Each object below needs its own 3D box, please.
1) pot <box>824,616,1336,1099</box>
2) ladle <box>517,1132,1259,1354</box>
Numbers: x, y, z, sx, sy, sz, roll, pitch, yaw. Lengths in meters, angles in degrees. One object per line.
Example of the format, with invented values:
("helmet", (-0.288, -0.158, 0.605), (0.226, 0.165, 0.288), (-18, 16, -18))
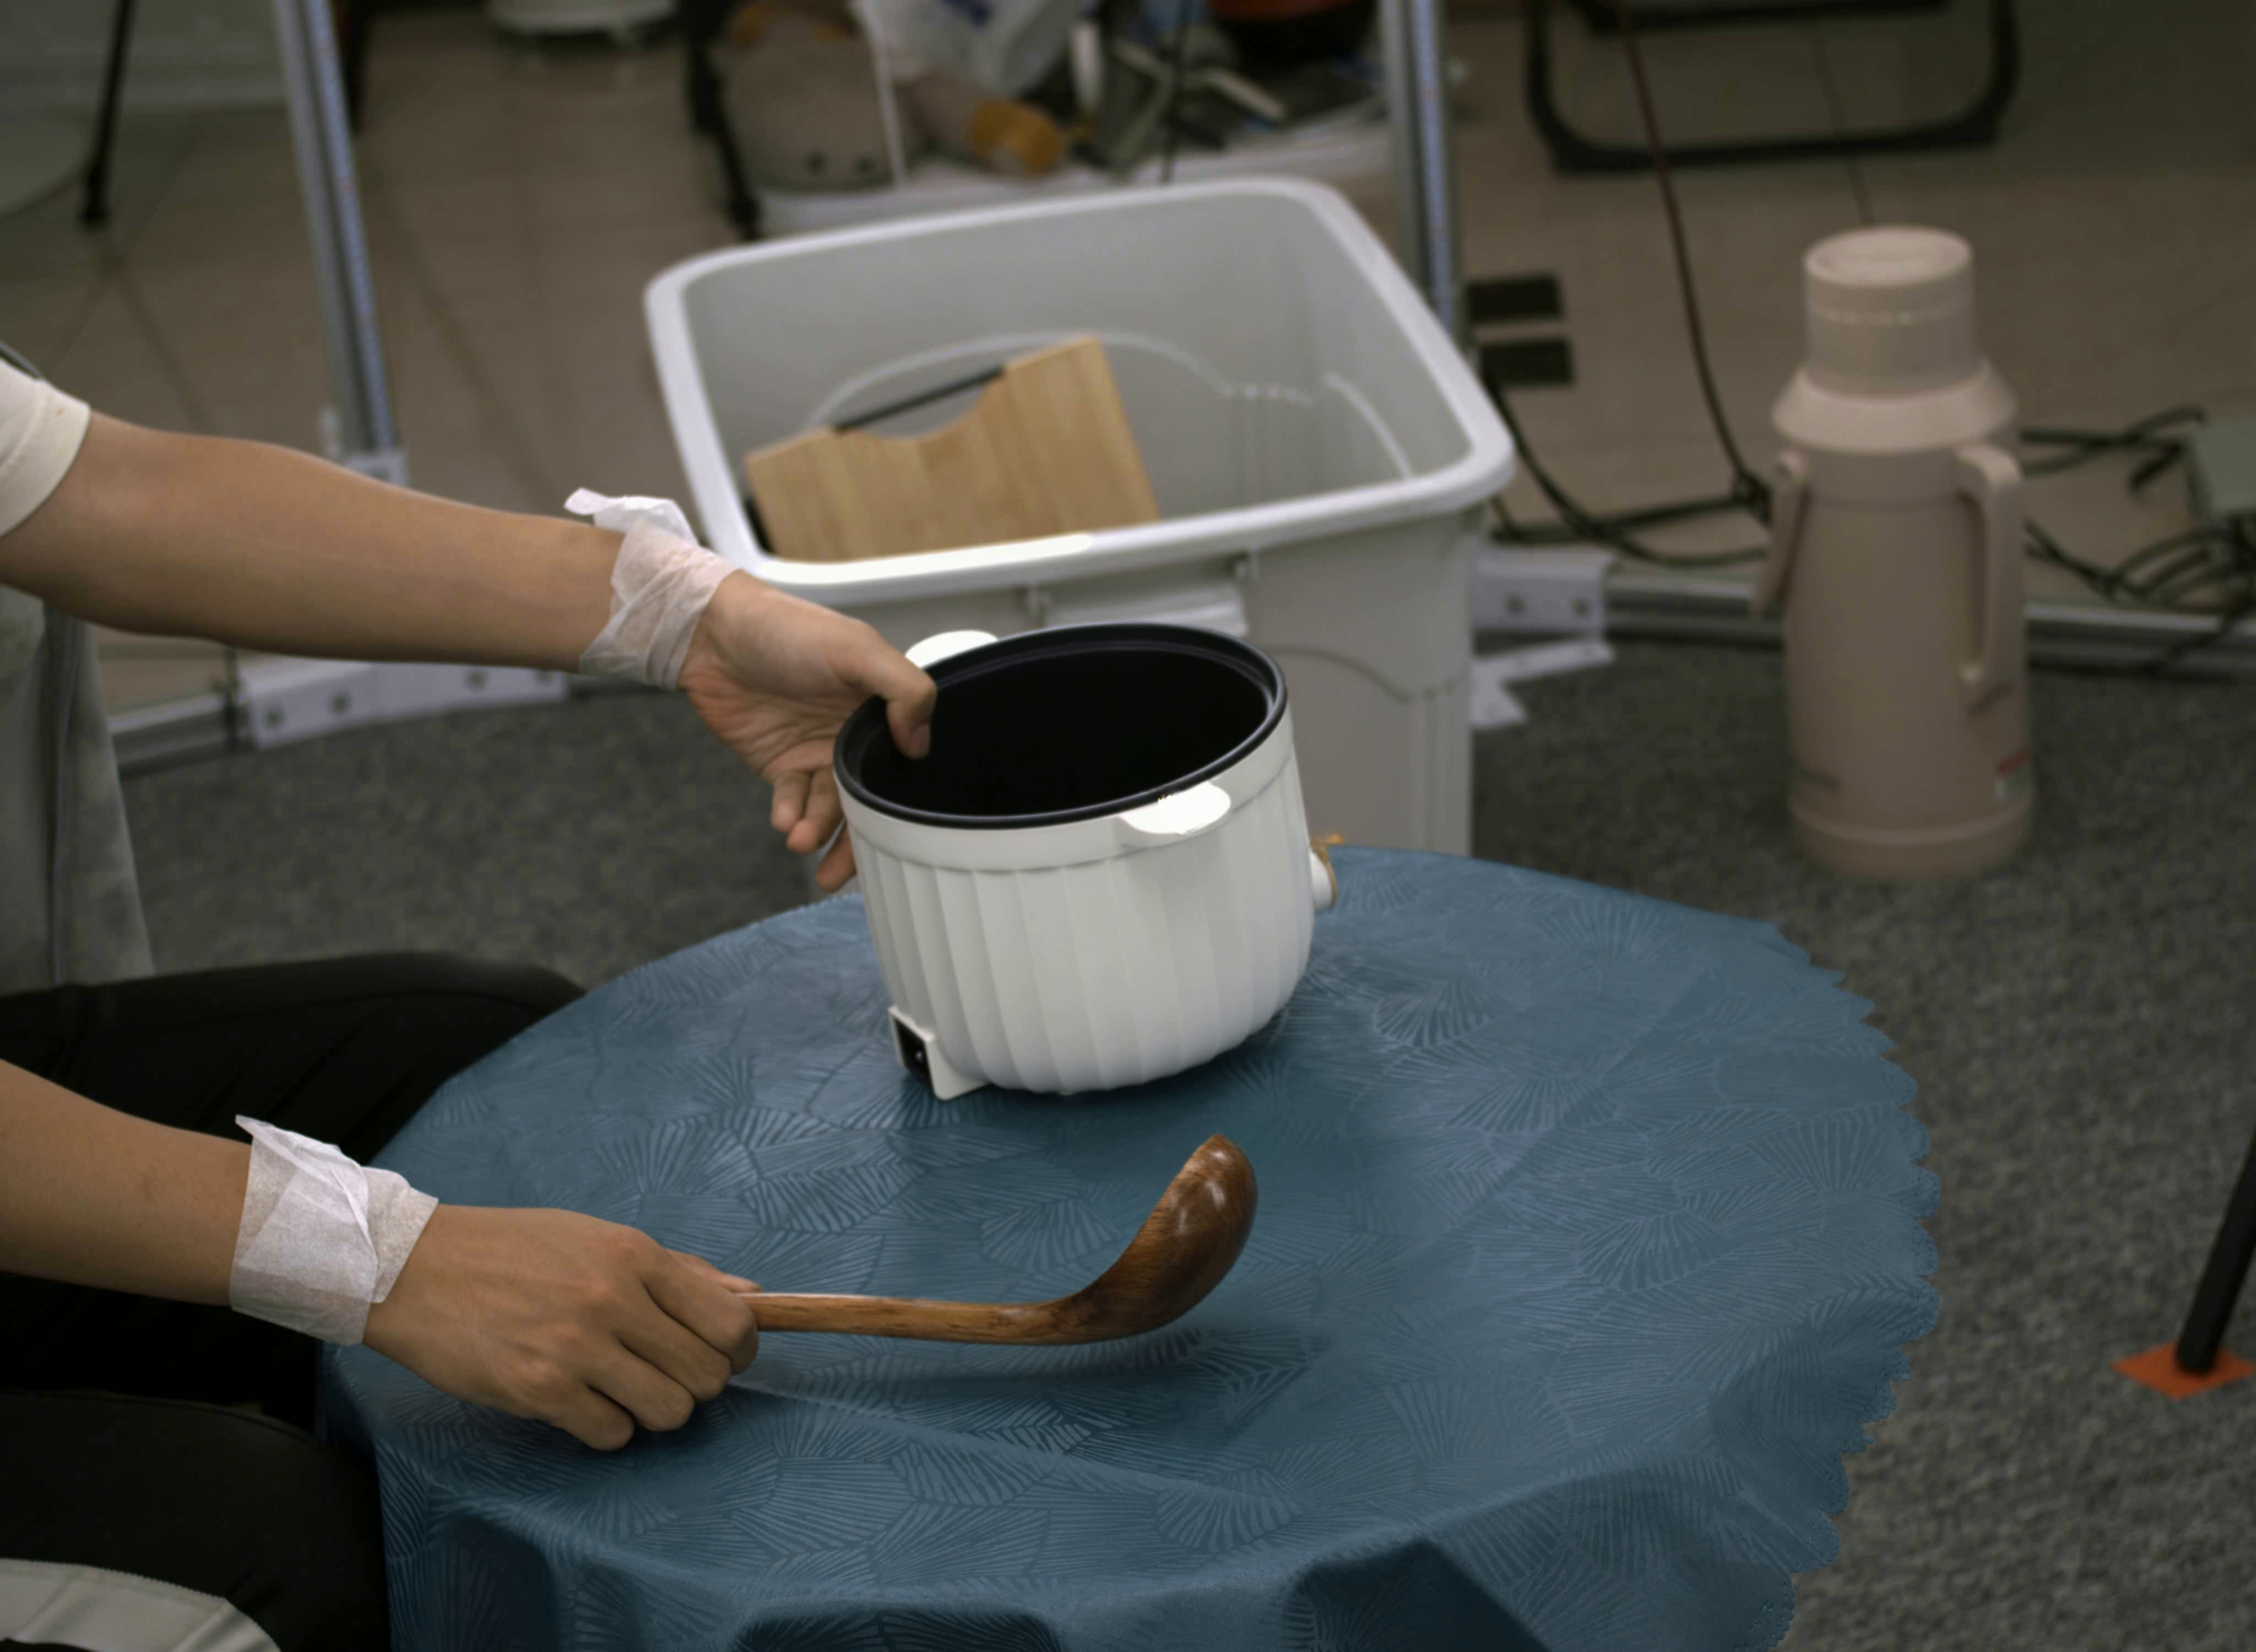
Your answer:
("pot", (-0.013, 0.013, 2.250), (0.189, 0.145, 0.237), (-24, 30, -20))
("ladle", (-0.088, 0.150, 2.038), (0.273, 0.076, 0.082), (-1, -7, 11))
